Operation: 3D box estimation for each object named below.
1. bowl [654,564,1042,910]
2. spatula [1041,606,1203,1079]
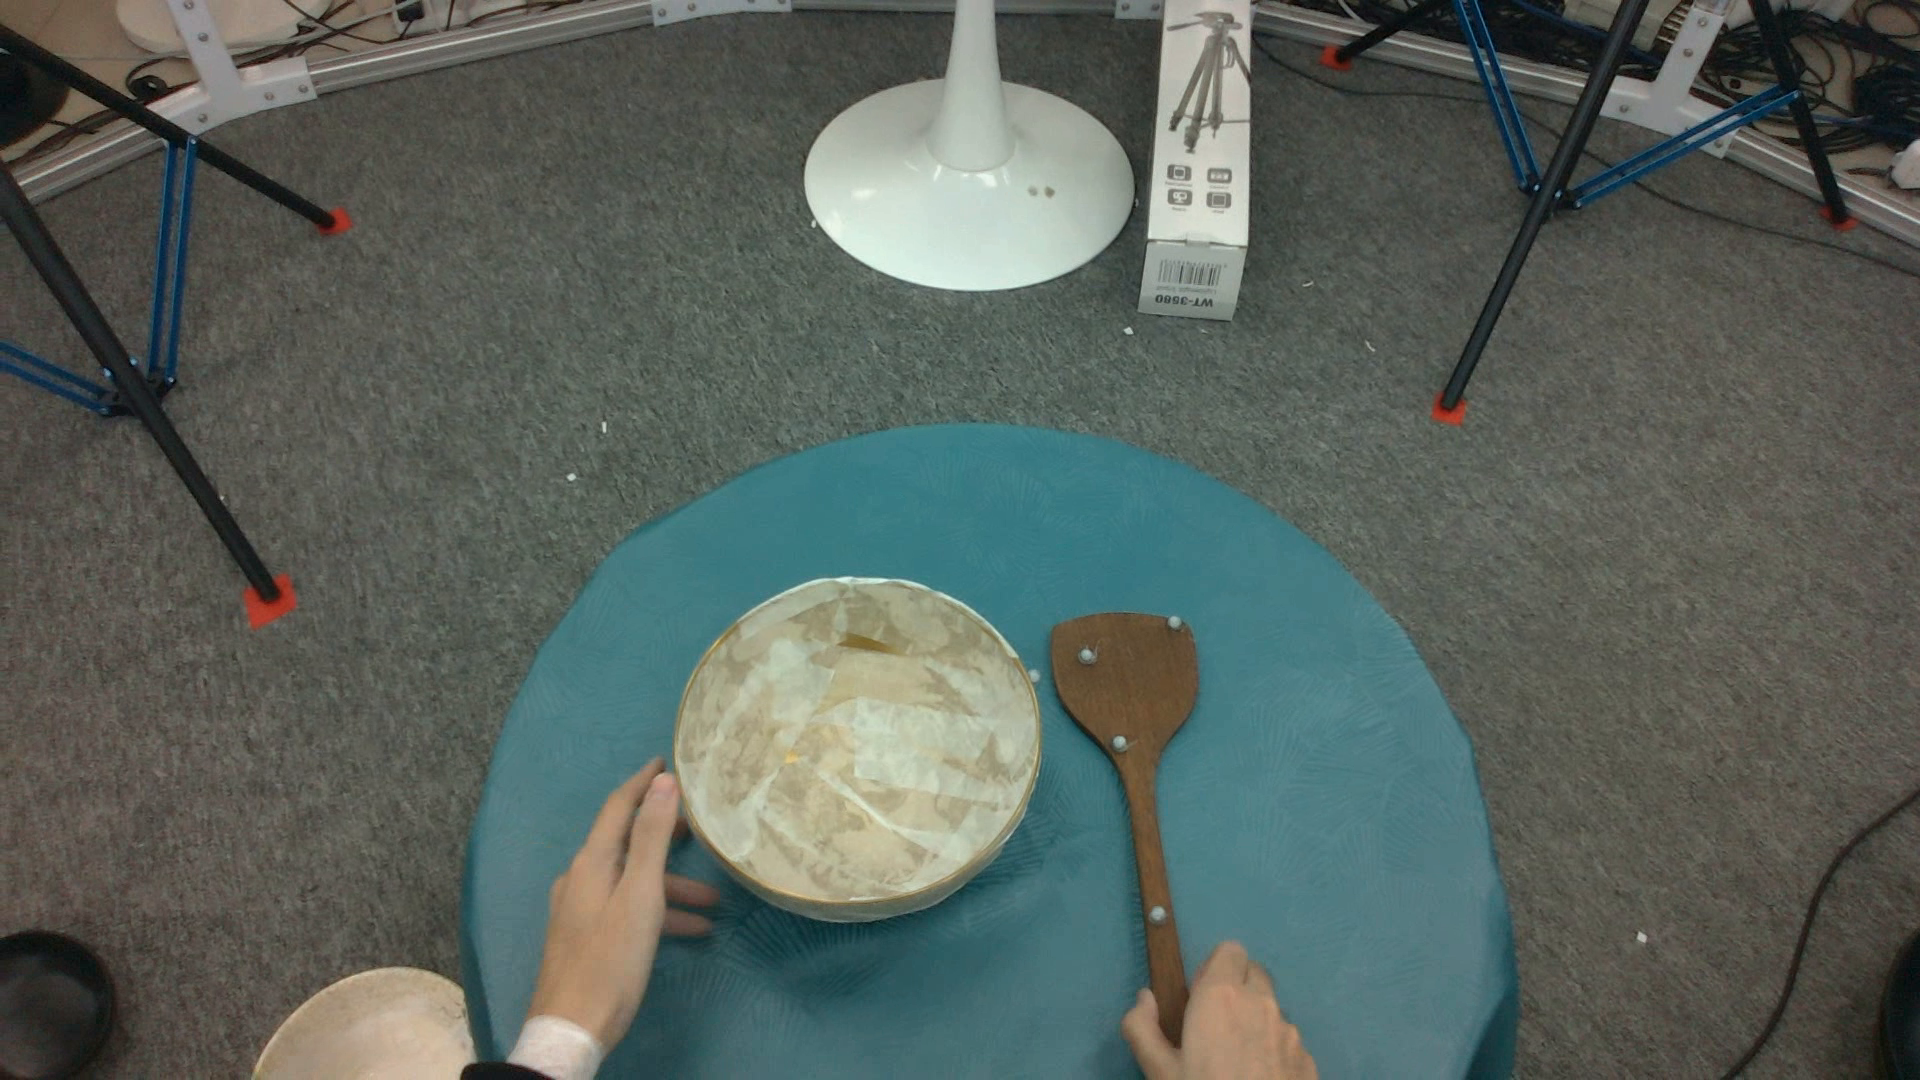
[{"bbox_3d":[-0.063,0.123,0.776,0.215,0.094,0.215,2,53,-3],"label":"bowl"},{"bbox_3d":[0.106,0.189,0.773,0.096,0.016,0.387,-1,48,-3],"label":"spatula"}]
